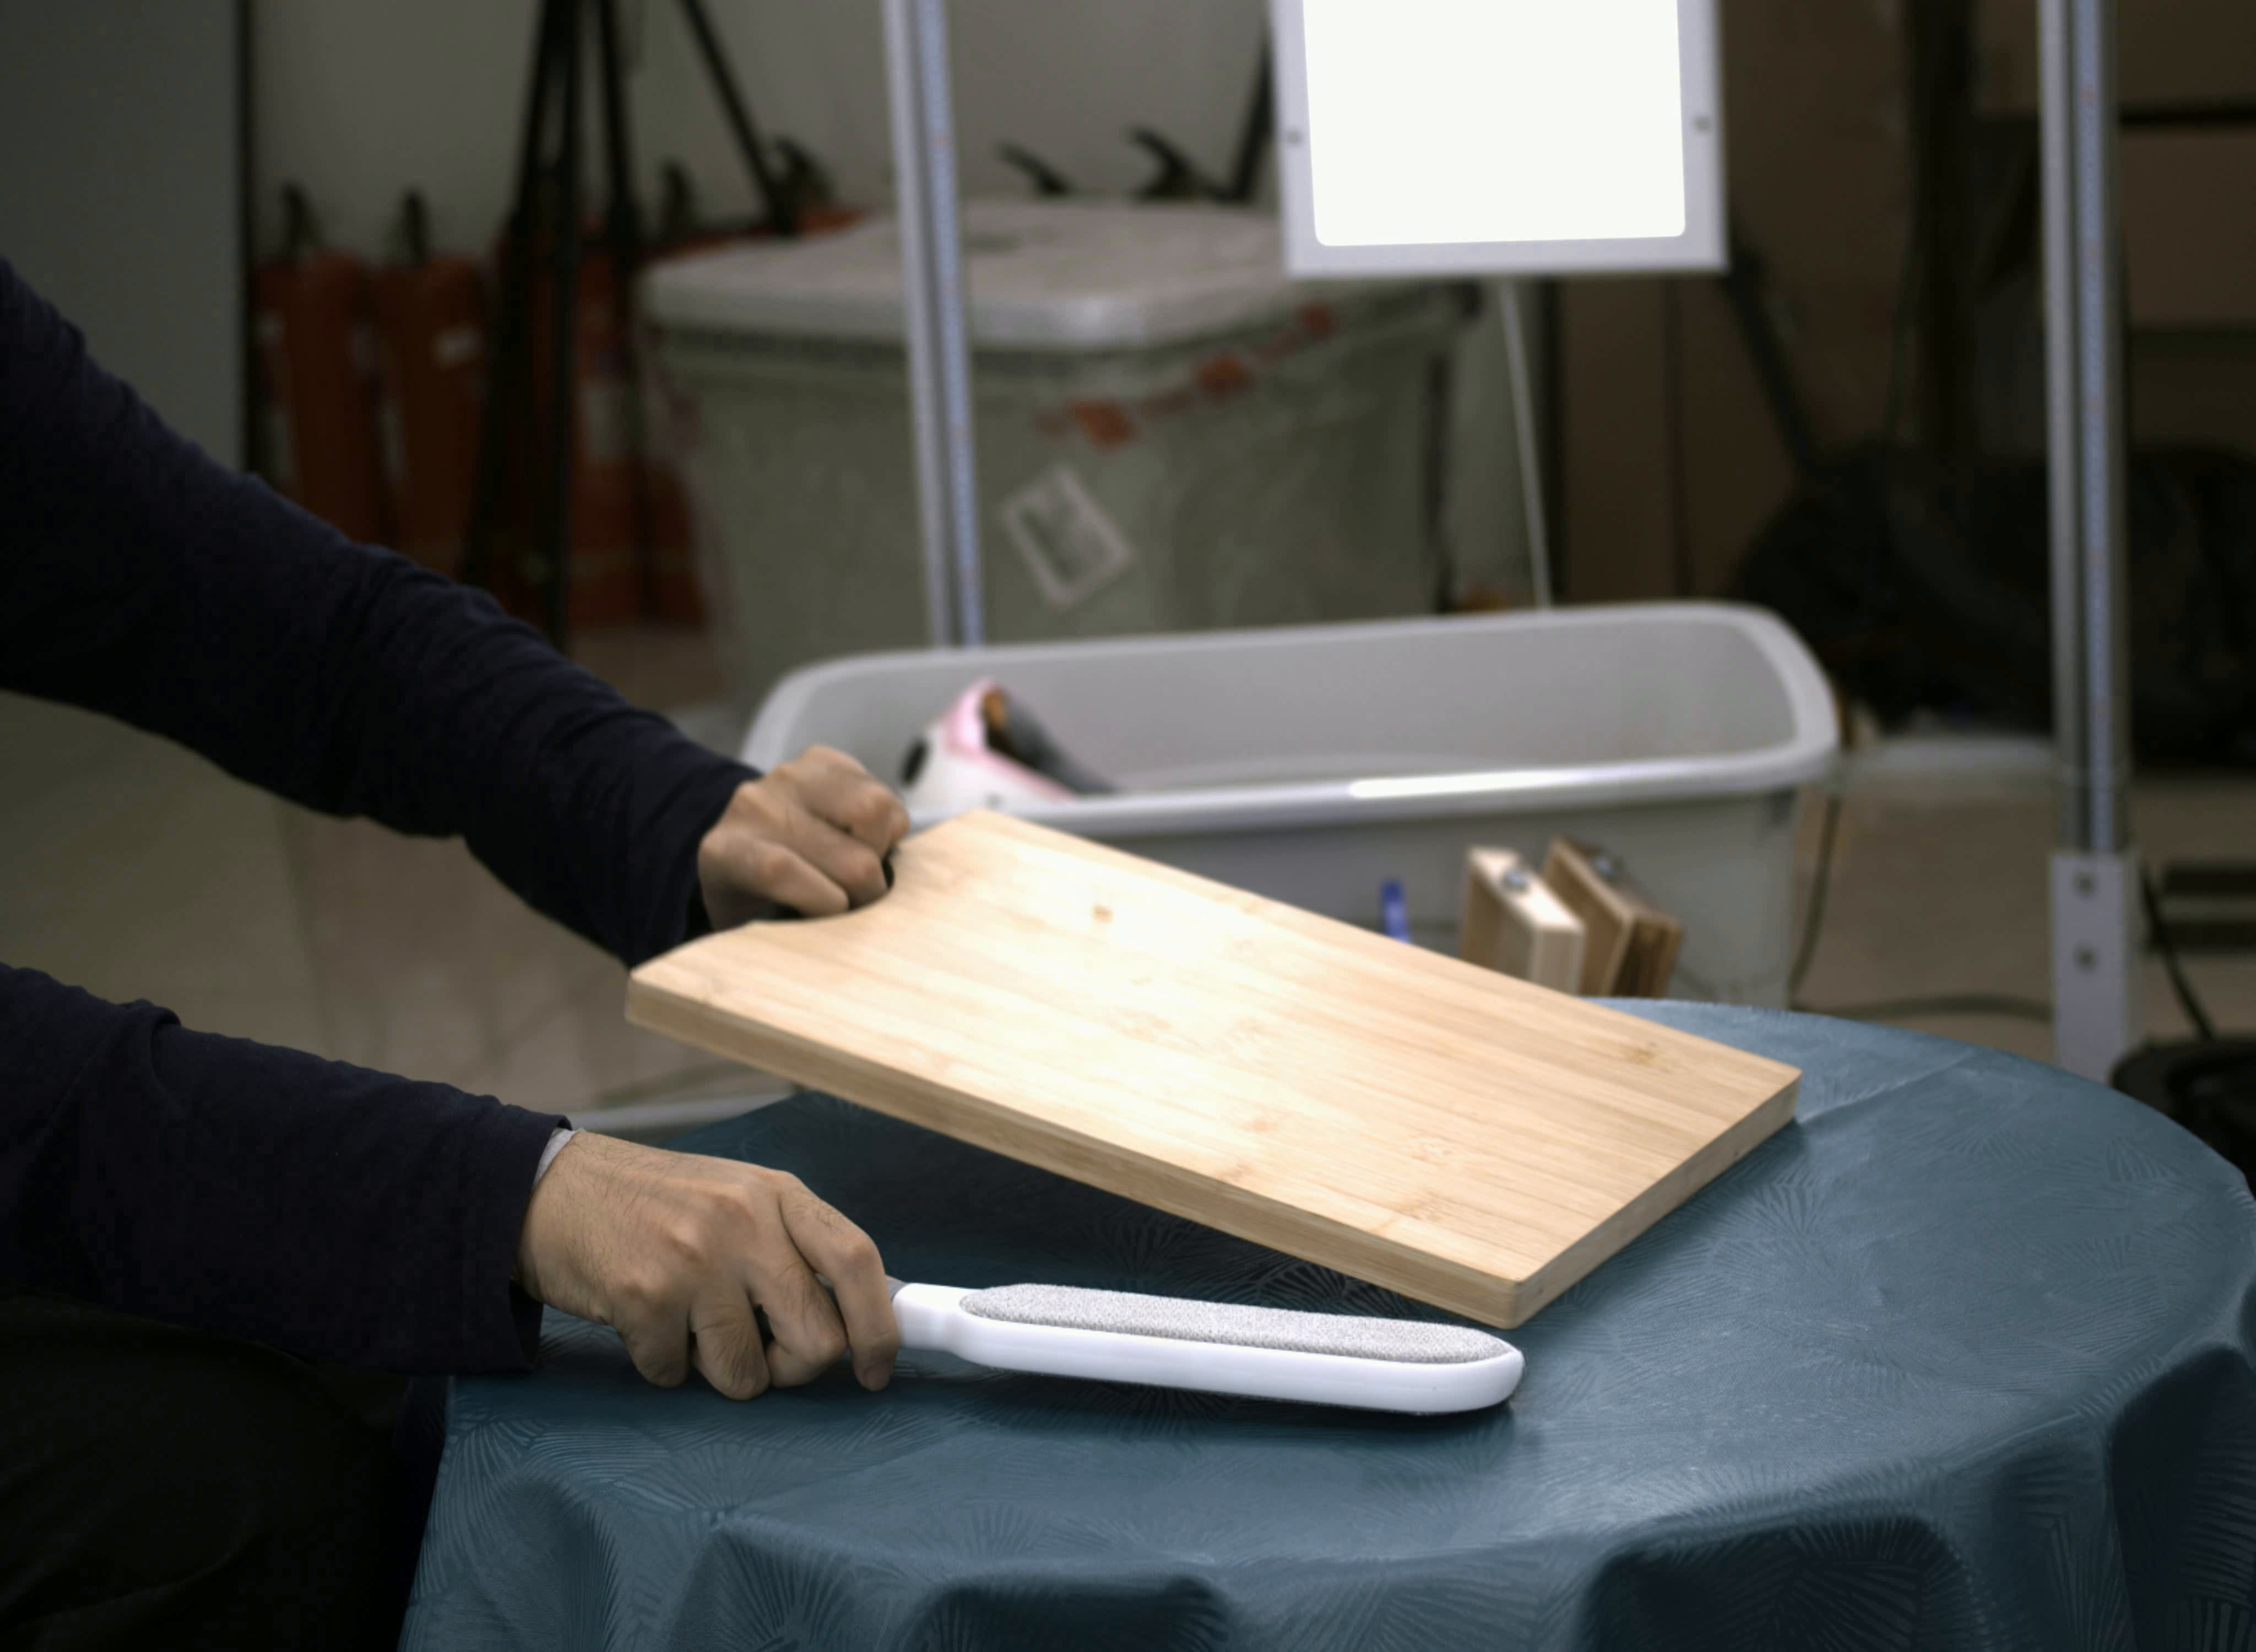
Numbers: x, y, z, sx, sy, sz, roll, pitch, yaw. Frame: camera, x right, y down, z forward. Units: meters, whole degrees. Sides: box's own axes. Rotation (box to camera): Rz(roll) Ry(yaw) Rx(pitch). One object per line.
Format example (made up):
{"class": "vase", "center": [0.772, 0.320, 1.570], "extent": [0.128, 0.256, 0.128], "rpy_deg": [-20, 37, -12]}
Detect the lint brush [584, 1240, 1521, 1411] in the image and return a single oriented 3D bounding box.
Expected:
{"class": "lint brush", "center": [-0.028, 0.153, 1.711], "extent": [0.313, 0.021, 0.059], "rpy_deg": [4, 14, 22]}

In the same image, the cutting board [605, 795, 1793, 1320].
{"class": "cutting board", "center": [0.027, 0.073, 1.901], "extent": [0.354, 0.024, 0.245], "rpy_deg": [18, 22, 26]}
